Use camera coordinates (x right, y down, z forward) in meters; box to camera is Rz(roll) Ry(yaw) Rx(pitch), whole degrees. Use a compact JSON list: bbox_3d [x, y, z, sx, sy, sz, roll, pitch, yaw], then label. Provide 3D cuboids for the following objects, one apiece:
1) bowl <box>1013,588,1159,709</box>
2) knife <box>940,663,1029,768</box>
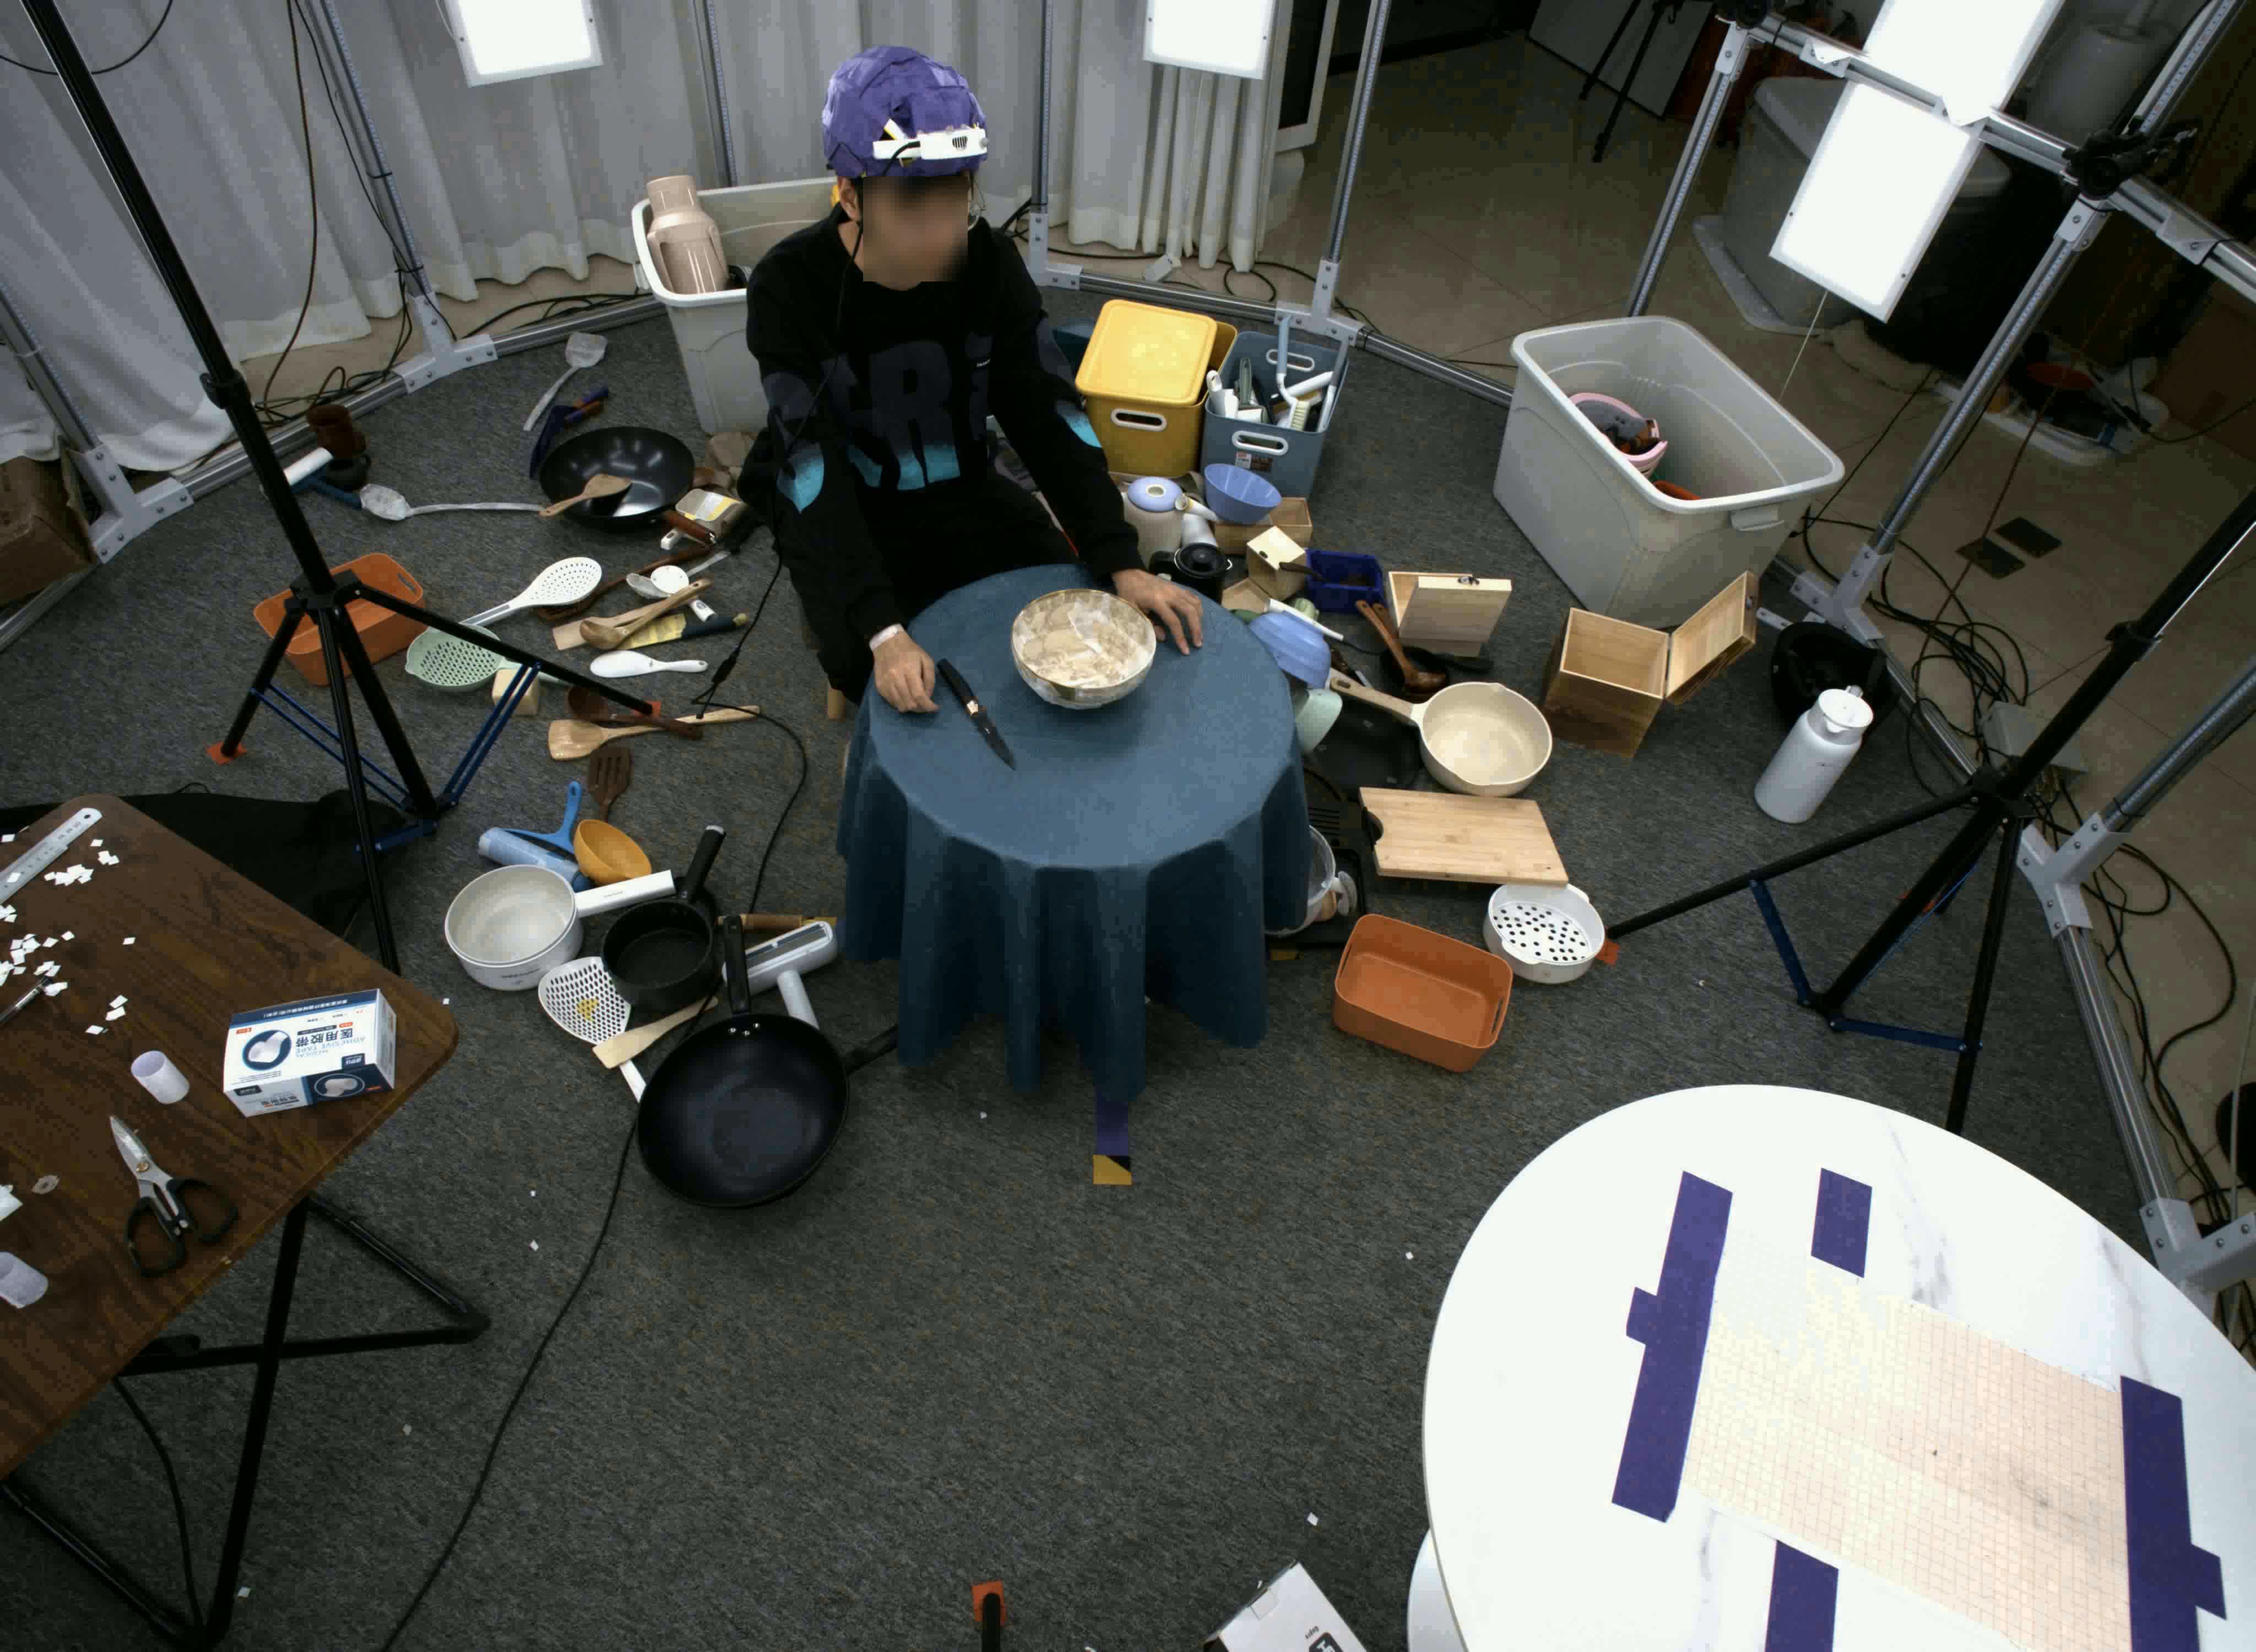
[{"bbox_3d":[-0.061,-0.237,1.809,0.214,0.092,0.220,1,50,-2],"label":"bowl"},{"bbox_3d":[-0.201,-0.154,1.783,0.026,0.017,0.230,-20,54,-28],"label":"knife"}]
